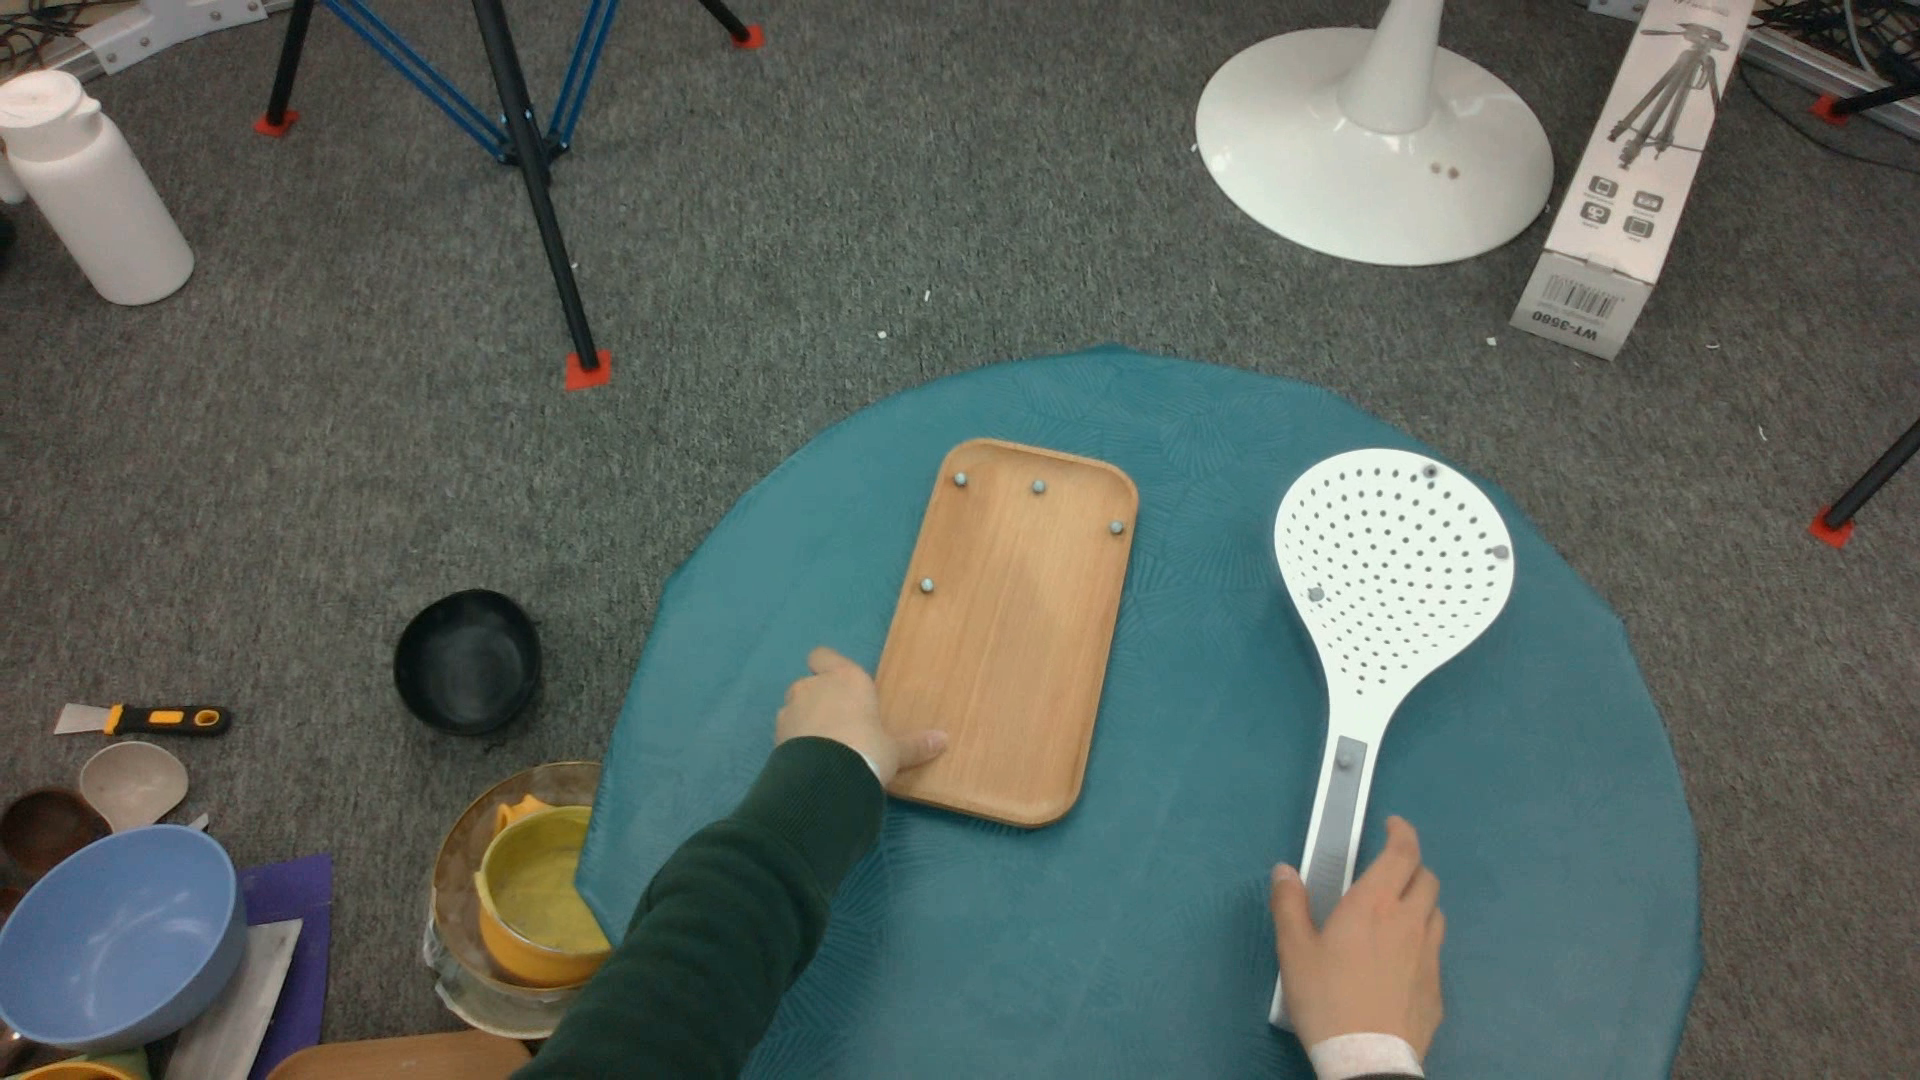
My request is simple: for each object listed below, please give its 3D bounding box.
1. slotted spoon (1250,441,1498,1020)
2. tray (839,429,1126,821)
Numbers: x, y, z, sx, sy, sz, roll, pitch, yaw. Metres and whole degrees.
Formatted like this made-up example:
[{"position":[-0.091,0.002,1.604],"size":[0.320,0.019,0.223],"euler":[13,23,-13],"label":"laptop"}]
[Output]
[{"position":[0.214,0.092,0.767],"size":[0.136,0.045,0.351],"euler":[16,57,10],"label":"slotted spoon"},{"position":[0.018,0.042,0.808],"size":[0.130,0.023,0.252],"euler":[12,57,7],"label":"tray"}]
